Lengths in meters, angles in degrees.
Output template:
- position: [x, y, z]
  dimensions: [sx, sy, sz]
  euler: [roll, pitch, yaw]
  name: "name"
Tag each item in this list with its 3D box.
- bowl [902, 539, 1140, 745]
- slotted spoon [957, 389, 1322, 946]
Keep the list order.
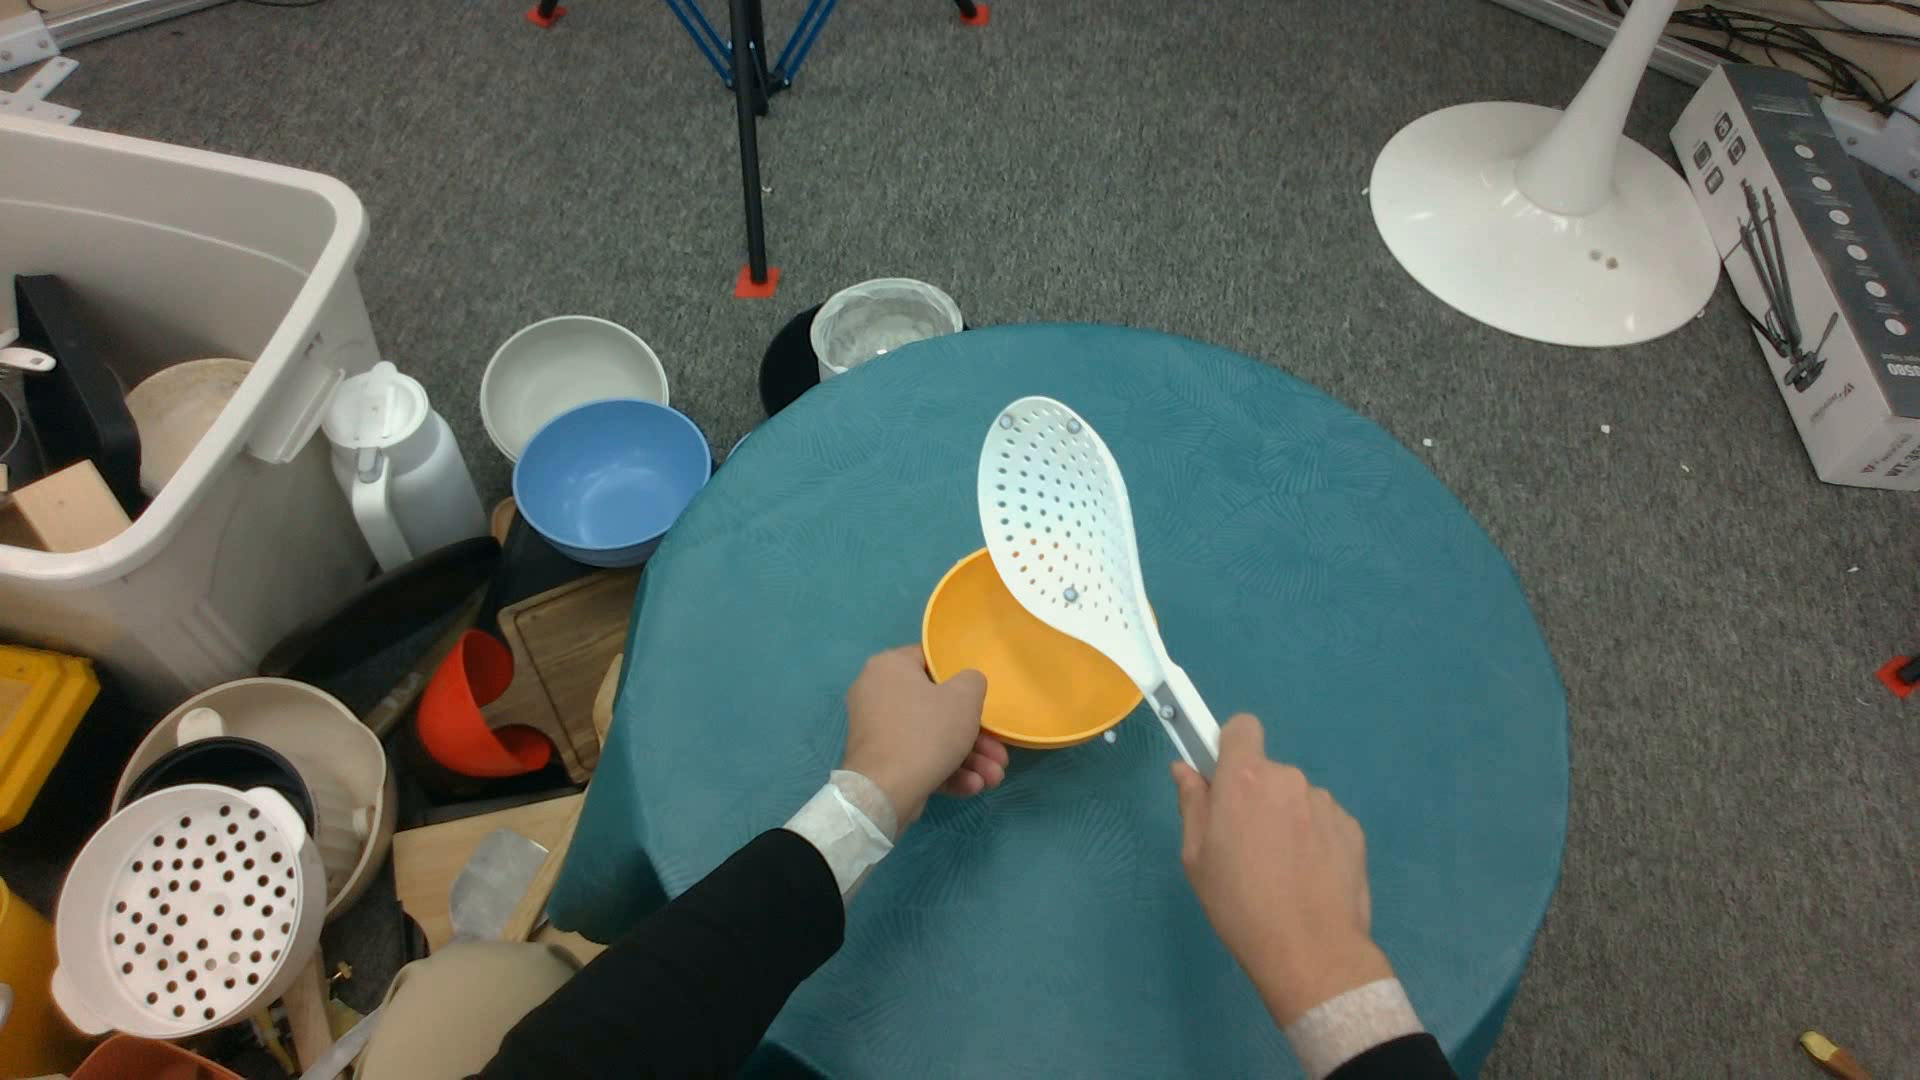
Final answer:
- position: [0.036, 0.072, 0.851]
  dimensions: [0.145, 0.060, 0.146]
  euler: [1, 52, -1]
  name: "bowl"
- position: [0.094, 0.062, 0.764]
  dimensions: [0.046, 0.135, 0.350]
  euler: [-8, 56, -31]
  name: "slotted spoon"
